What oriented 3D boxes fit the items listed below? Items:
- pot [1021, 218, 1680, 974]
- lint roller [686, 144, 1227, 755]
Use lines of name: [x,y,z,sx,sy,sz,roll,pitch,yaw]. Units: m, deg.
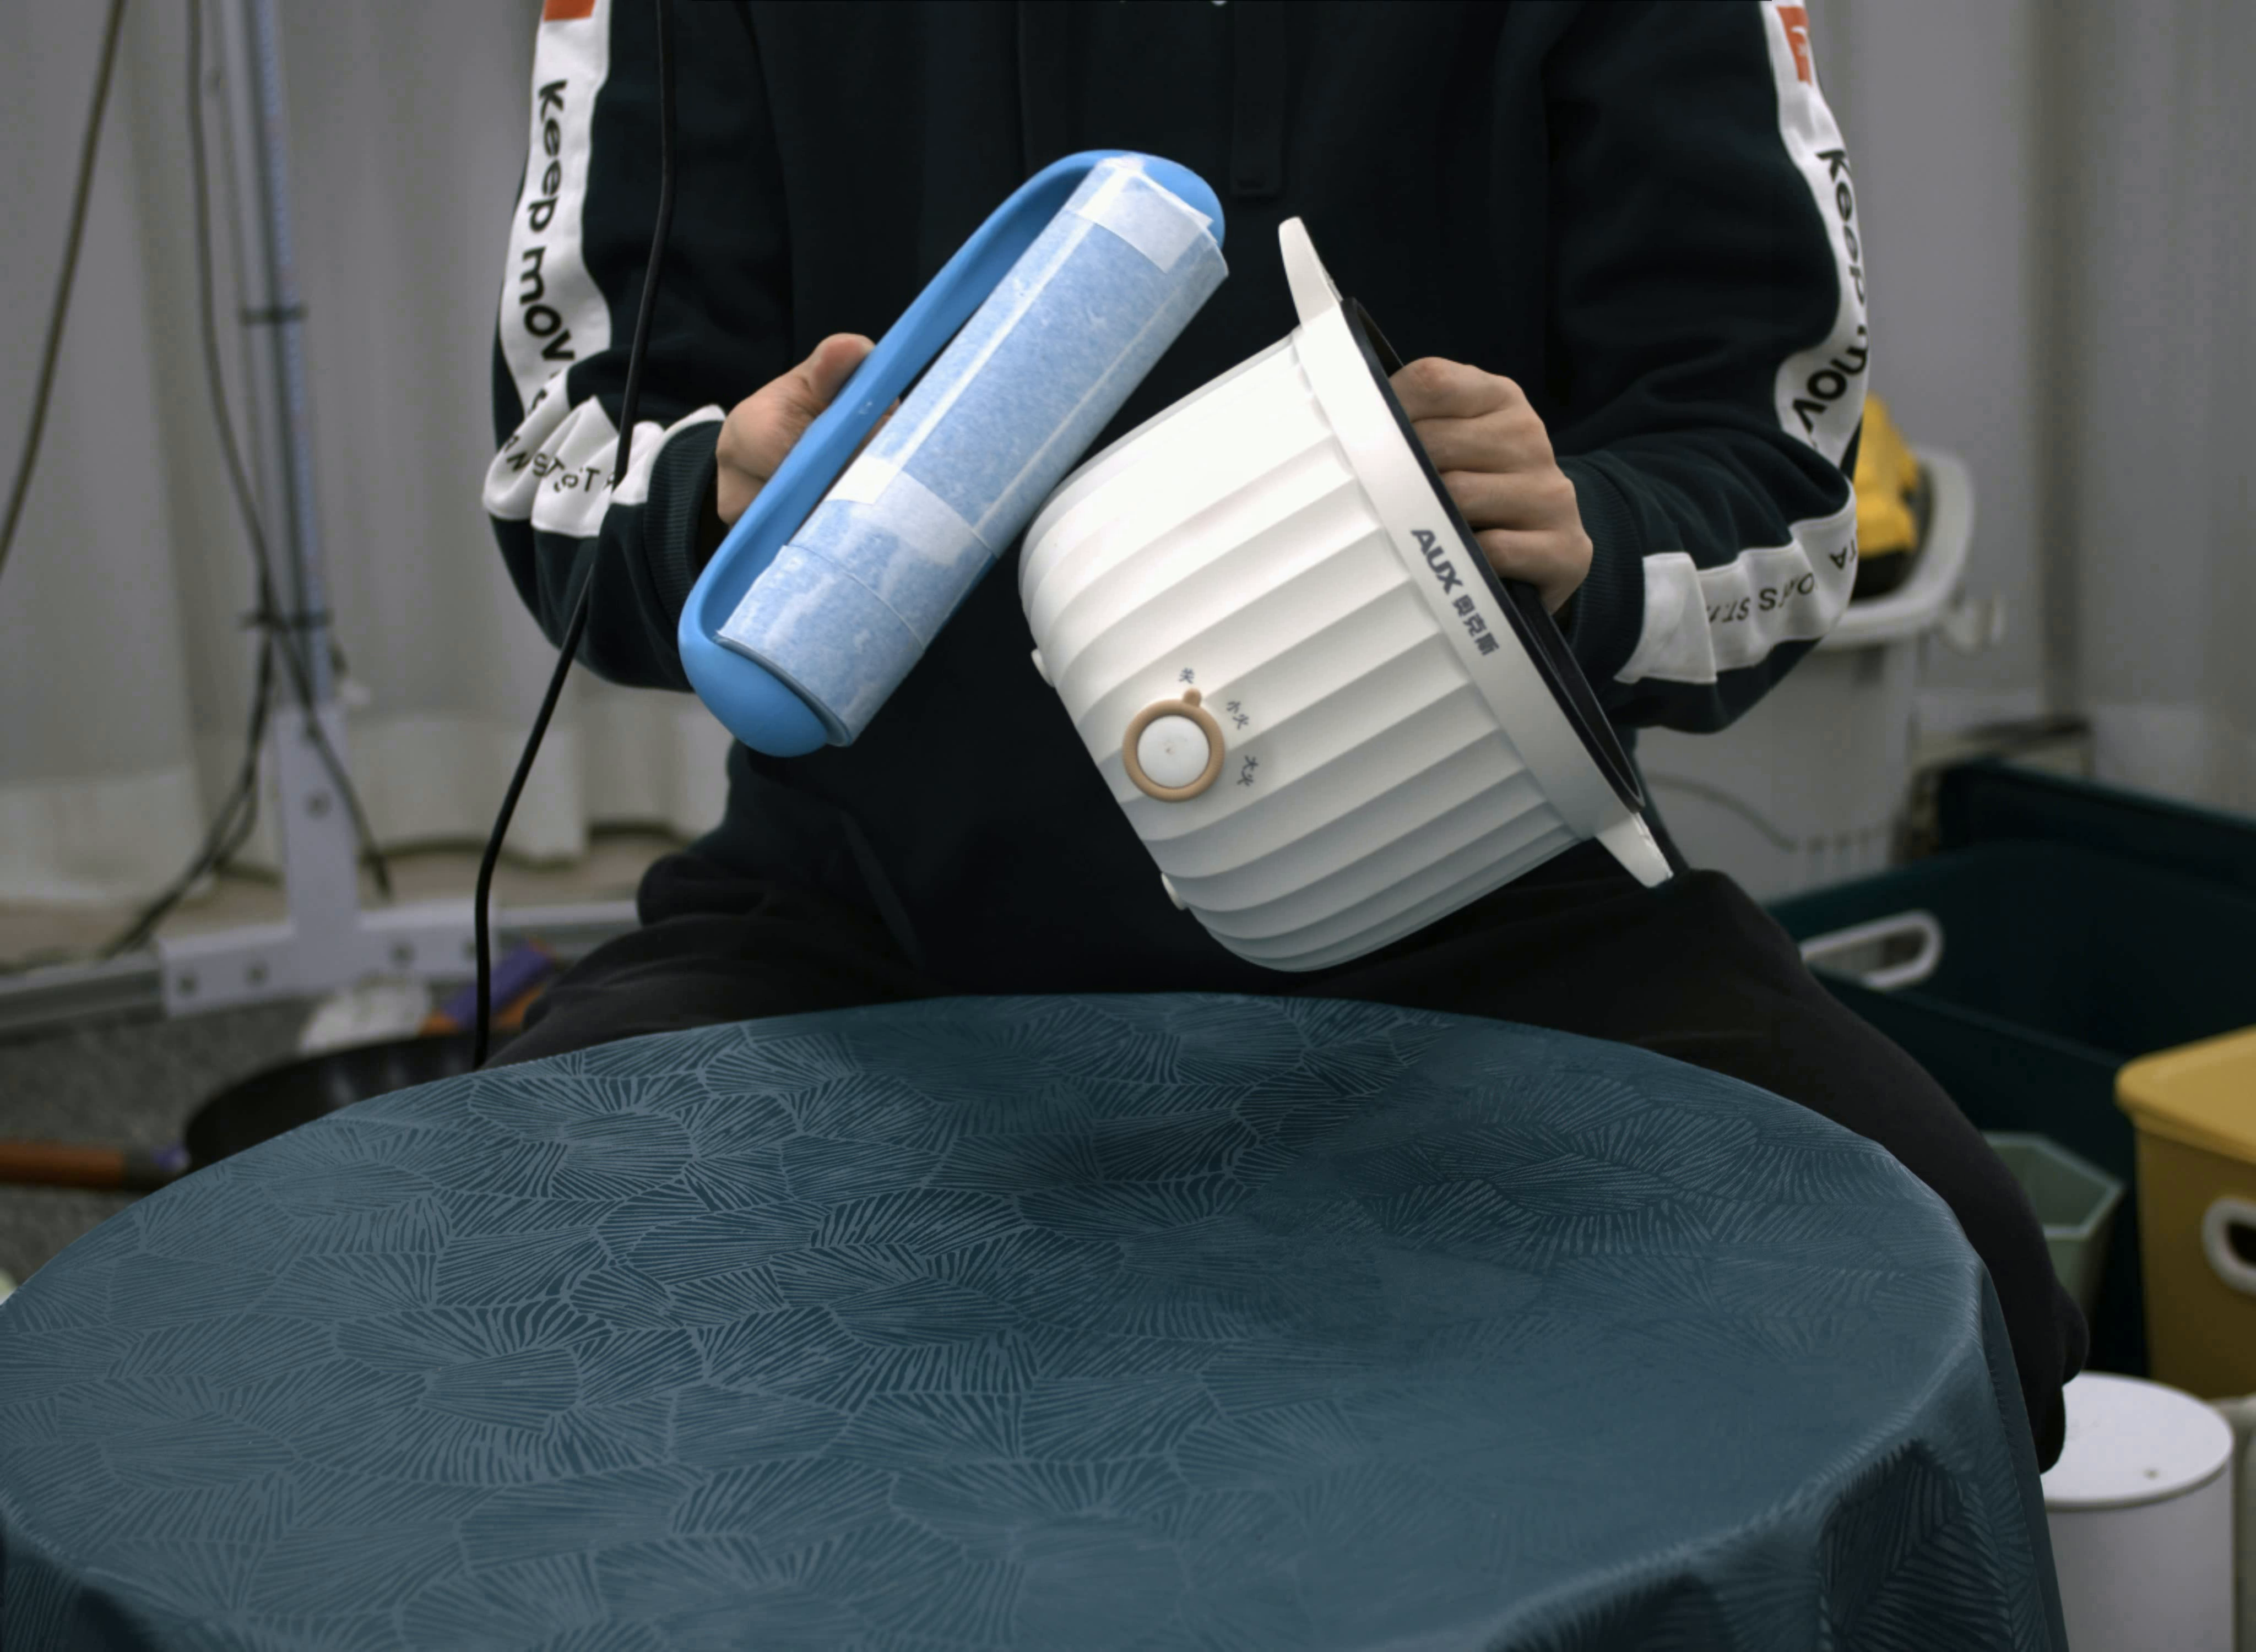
pot: [0.056,-0.049,1.674,0.142,0.240,0.191,-31,2,4]
lint roller: [-0.070,-0.114,1.731,0.230,0.067,0.180,-55,17,-16]
